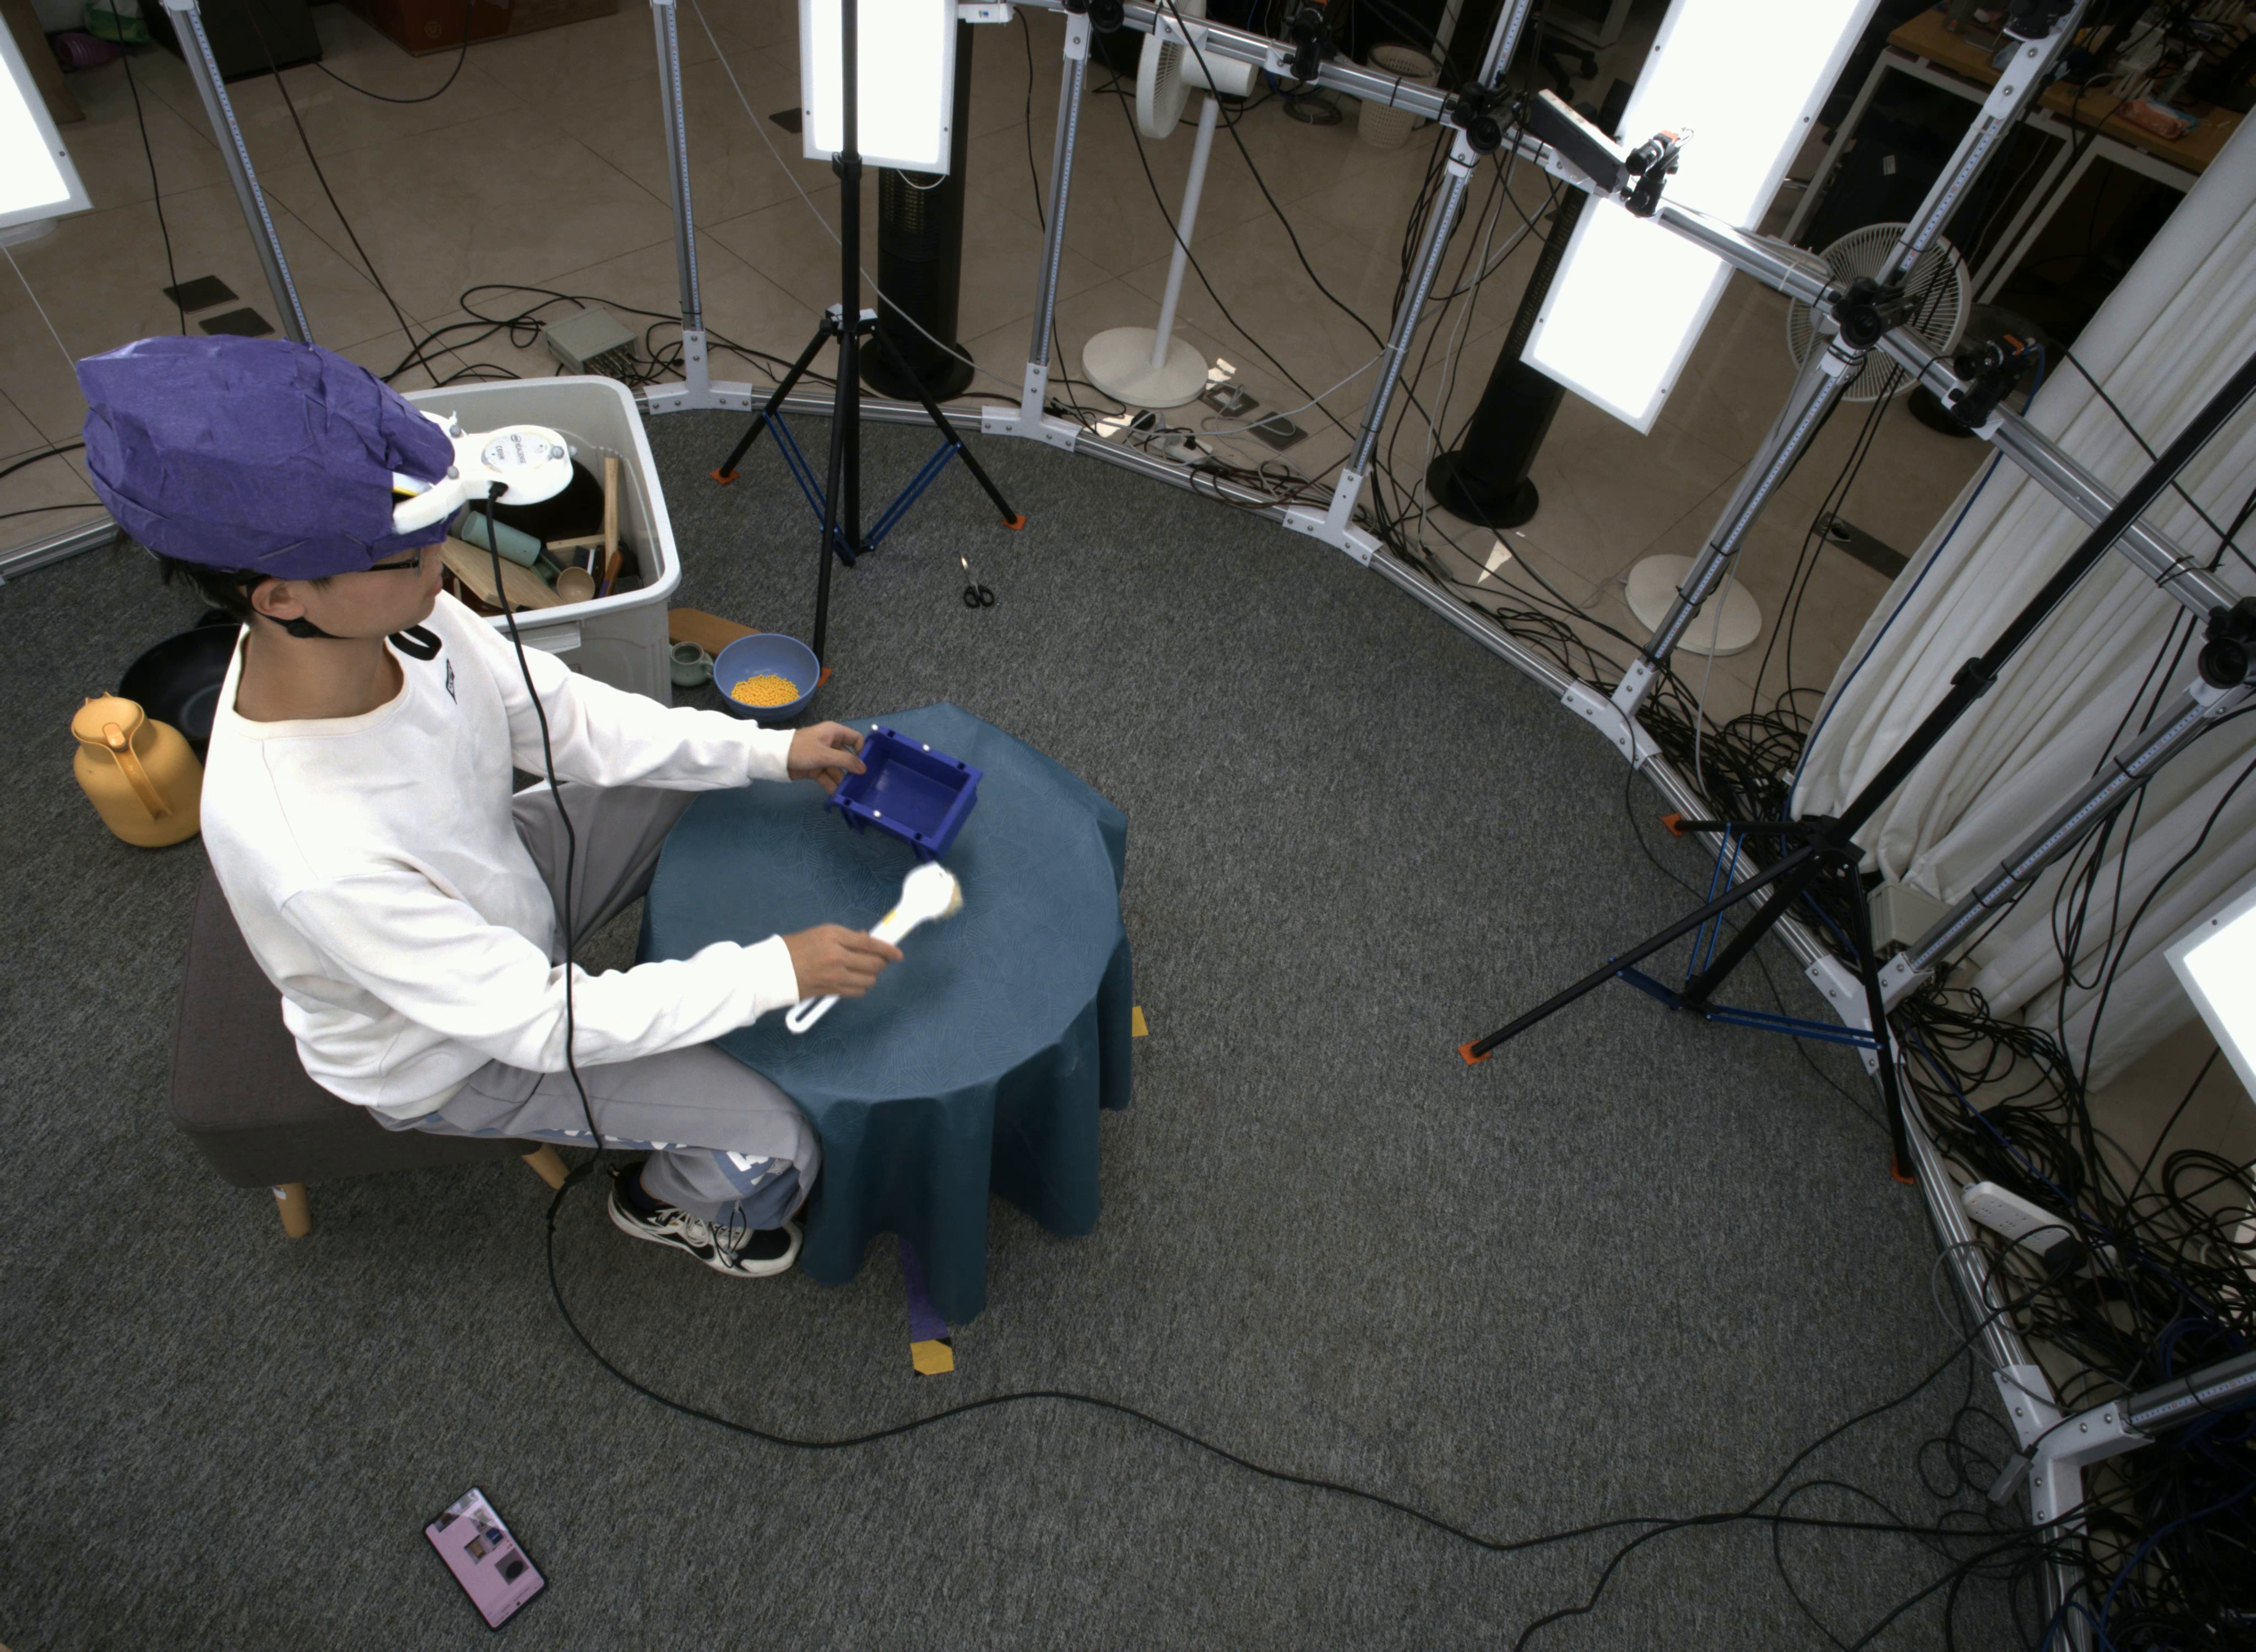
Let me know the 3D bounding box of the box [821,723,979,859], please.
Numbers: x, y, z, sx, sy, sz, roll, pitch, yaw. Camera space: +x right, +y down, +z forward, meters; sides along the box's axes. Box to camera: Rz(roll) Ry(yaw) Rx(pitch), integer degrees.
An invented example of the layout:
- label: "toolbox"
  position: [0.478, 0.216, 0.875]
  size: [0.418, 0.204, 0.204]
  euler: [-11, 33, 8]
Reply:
- label: "box"
  position: [-0.298, -0.042, 1.690]
  size: [0.177, 0.083, 0.124]
  euler: [26, 71, 6]

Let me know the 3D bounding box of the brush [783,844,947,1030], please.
- label: "brush"
  position: [-0.315, 0.134, 1.553]
  size: [0.067, 0.057, 0.267]
  euler: [34, 82, 20]
